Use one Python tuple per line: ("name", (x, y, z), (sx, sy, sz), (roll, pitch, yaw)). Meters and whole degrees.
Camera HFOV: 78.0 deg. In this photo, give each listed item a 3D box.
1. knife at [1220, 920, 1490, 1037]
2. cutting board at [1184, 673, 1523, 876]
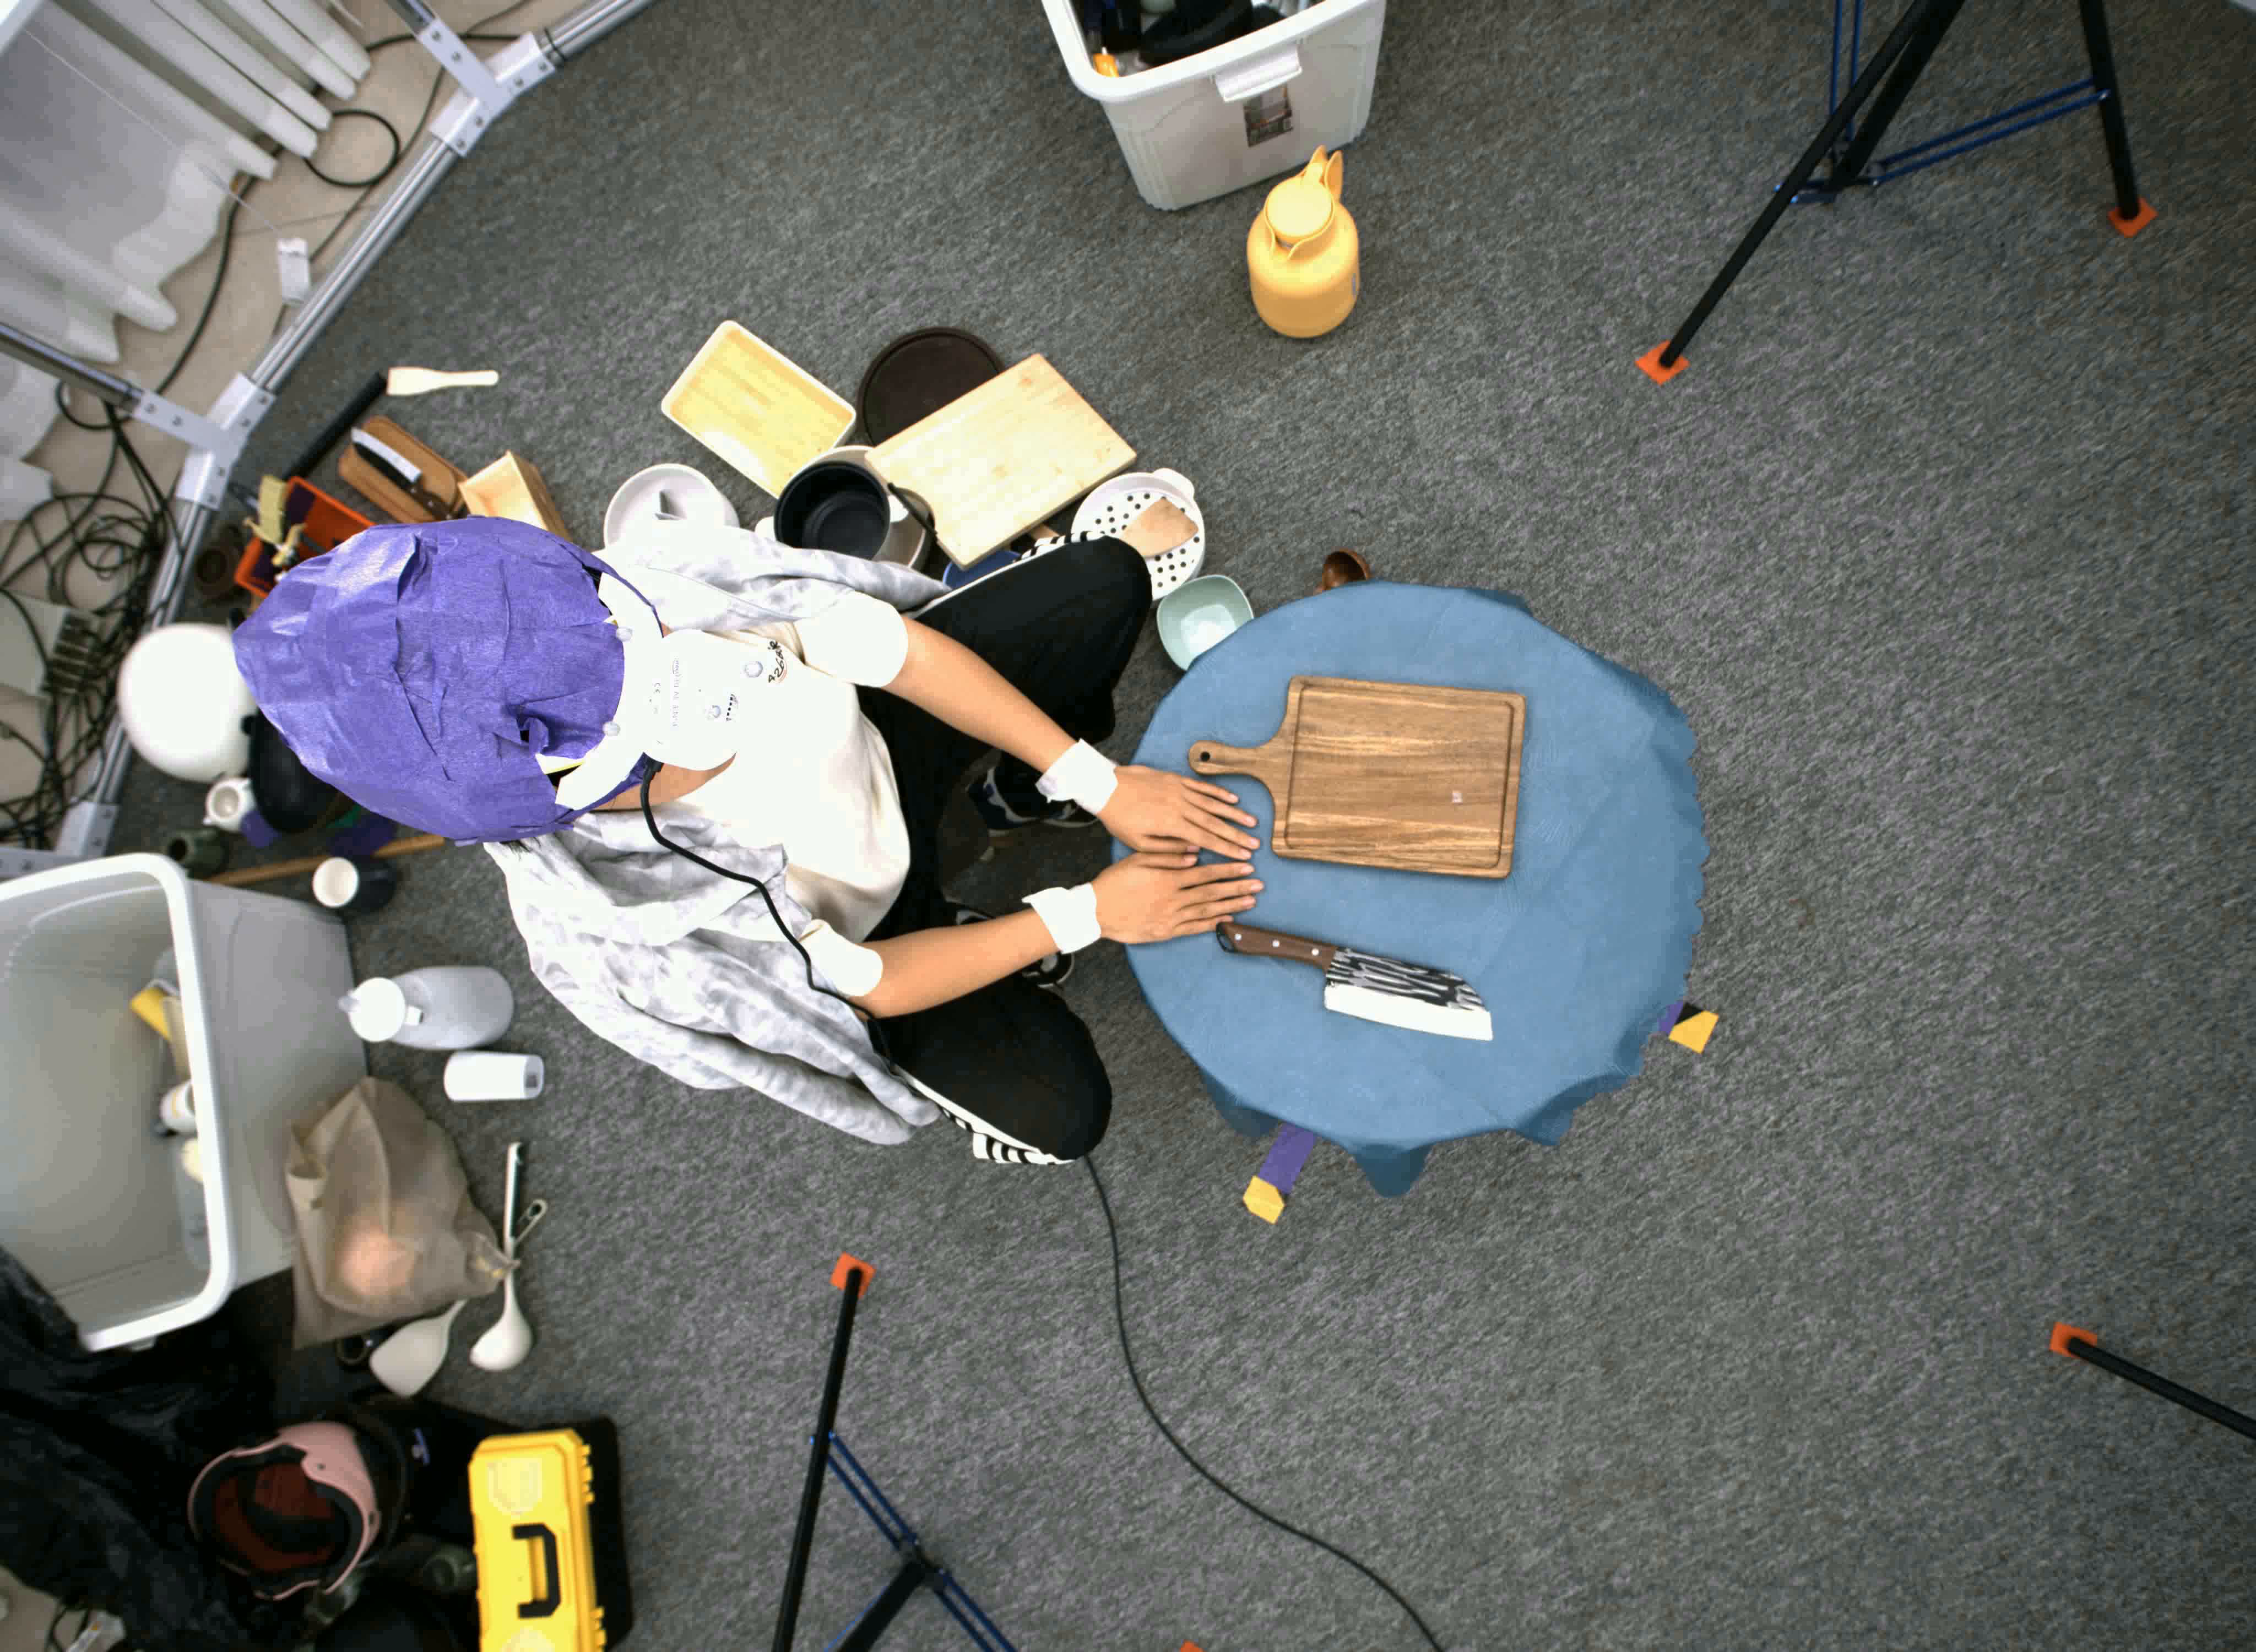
("knife", (0.236, 0.159, 1.450), (0.300, 0.024, 0.068), (14, 92, 8))
("cutting board", (0.234, -0.061, 1.462), (0.353, 0.023, 0.200), (6, 88, 11))
